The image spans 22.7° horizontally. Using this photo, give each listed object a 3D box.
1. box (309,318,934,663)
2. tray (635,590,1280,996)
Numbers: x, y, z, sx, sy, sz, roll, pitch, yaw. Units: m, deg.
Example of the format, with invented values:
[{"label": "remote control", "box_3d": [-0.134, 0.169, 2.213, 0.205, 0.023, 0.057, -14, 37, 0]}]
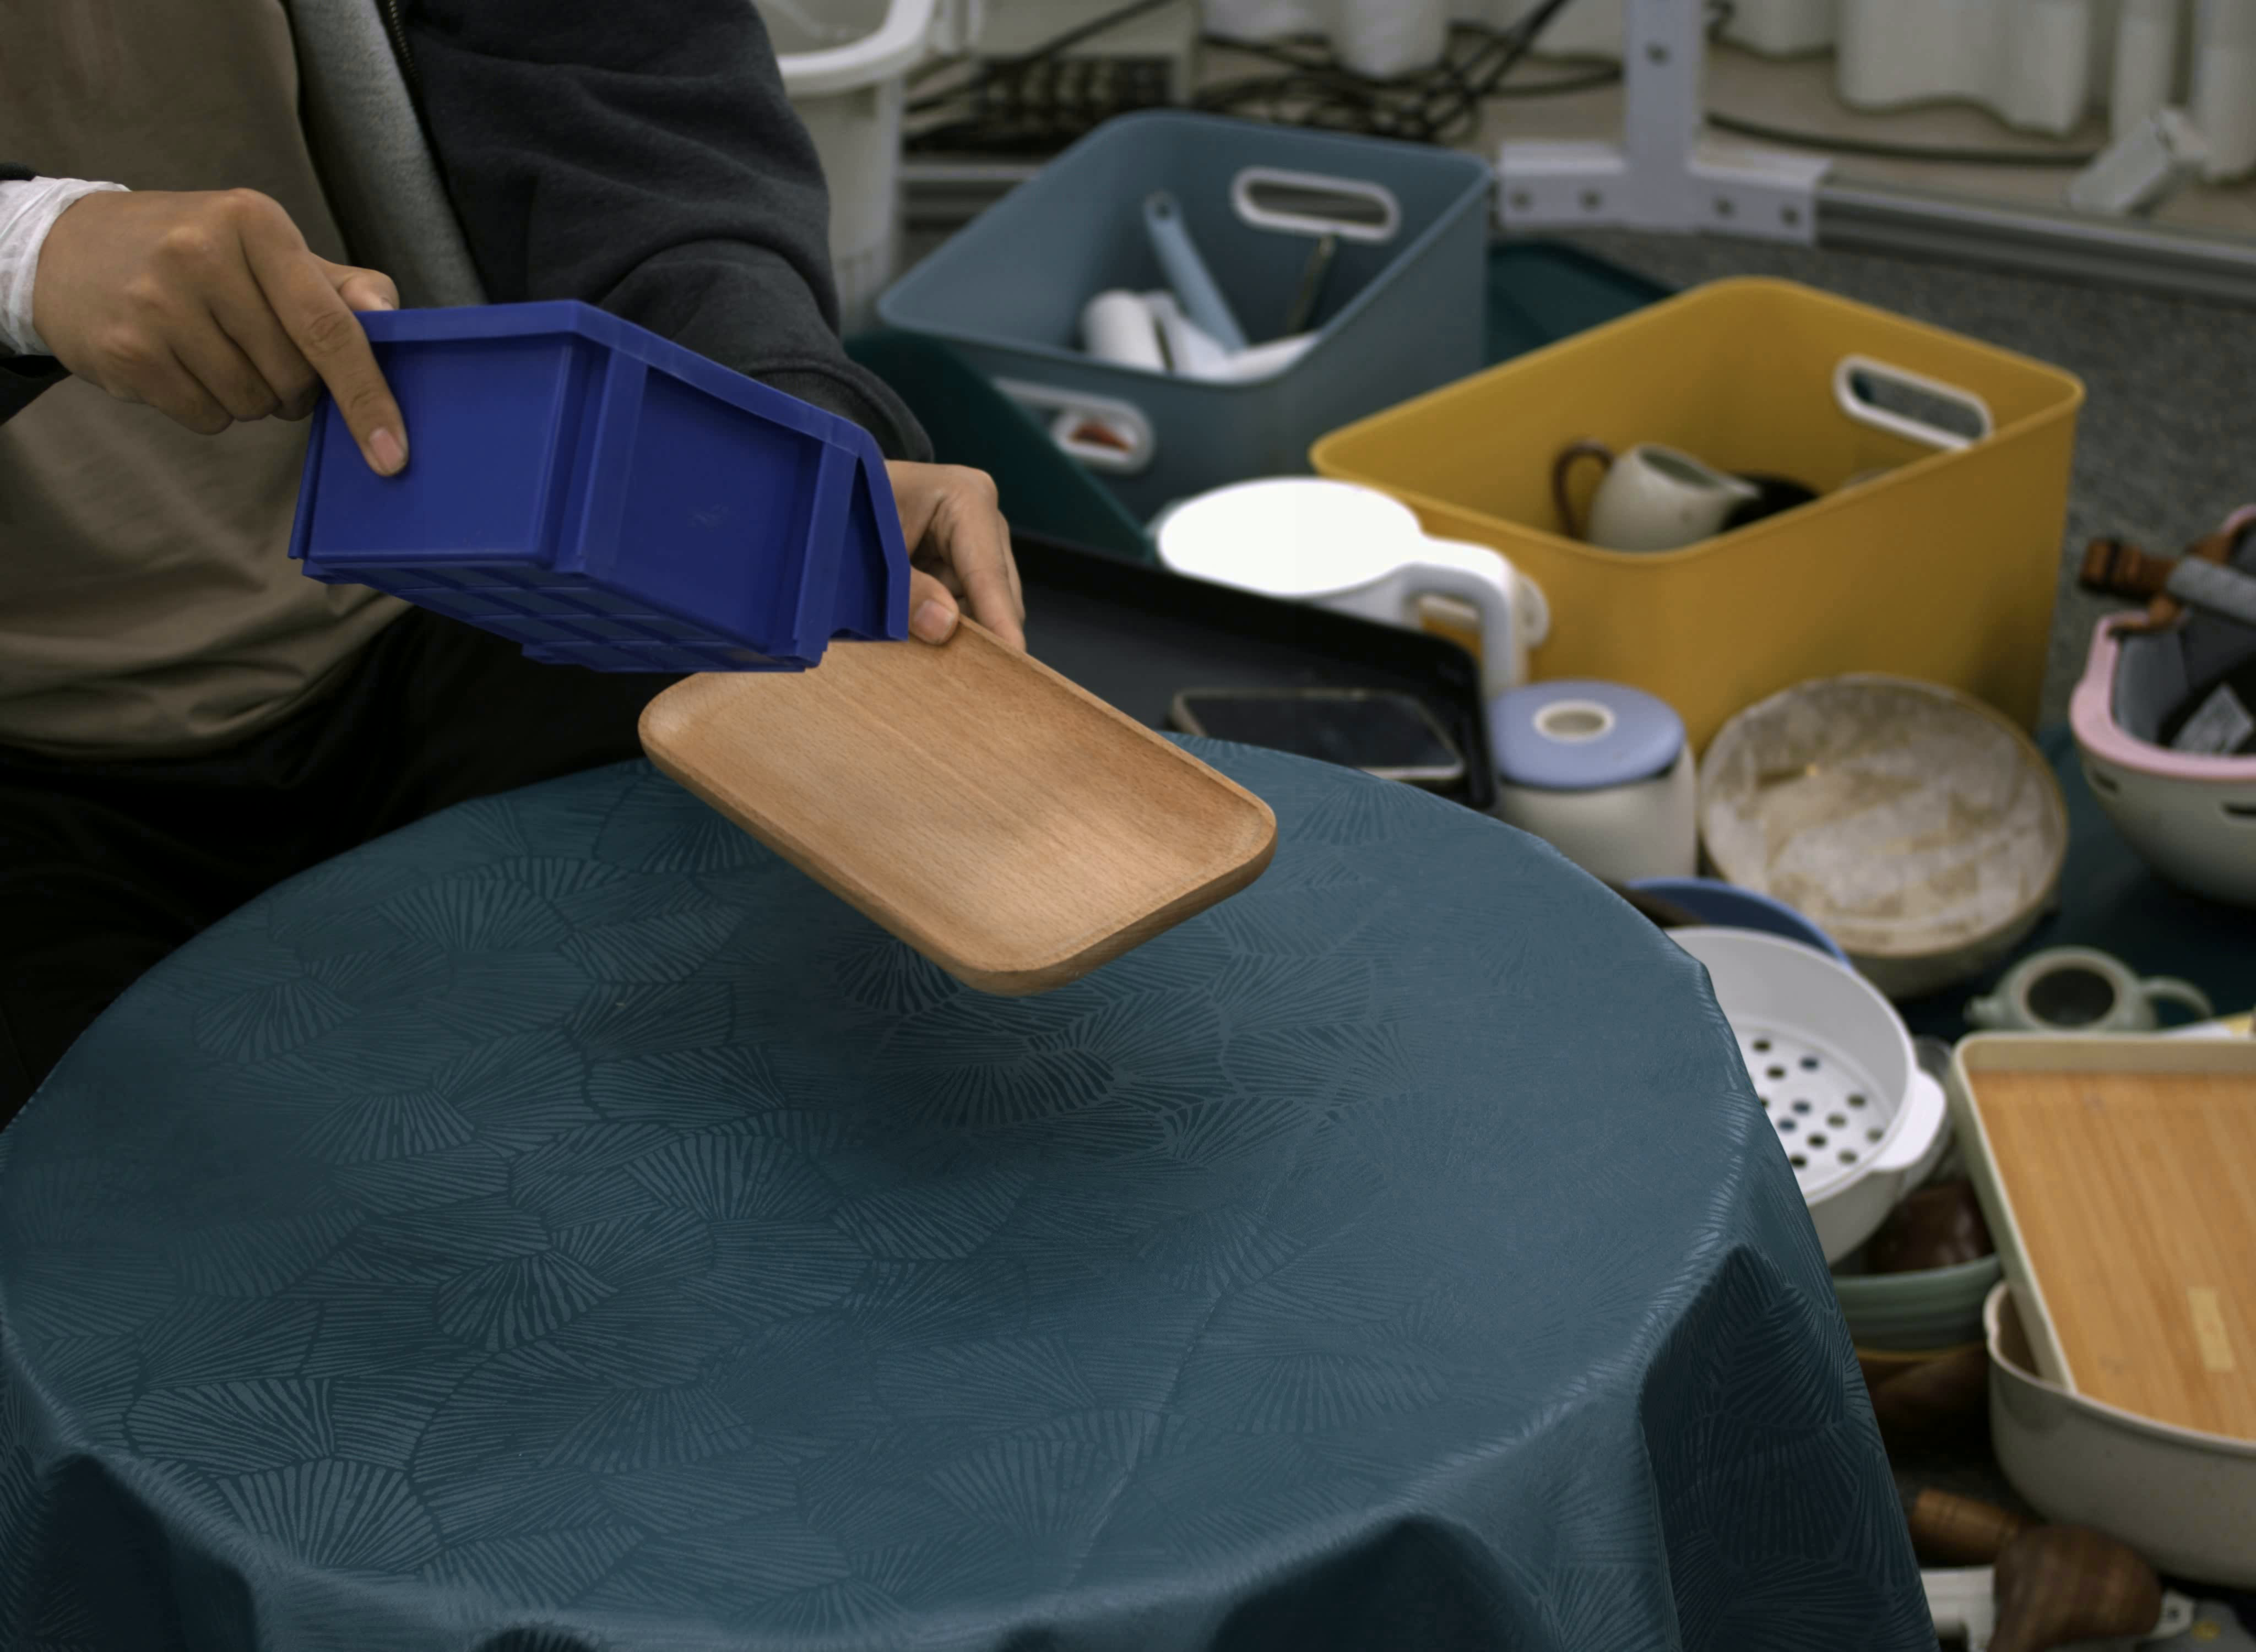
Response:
[{"label": "box", "box_3d": [-0.163, -0.102, 1.812, 0.123, 0.082, 0.179, 0, -8, 39]}, {"label": "tray", "box_3d": [-0.061, -0.014, 1.925, 0.132, 0.022, 0.251, -24, 34, -27]}]
